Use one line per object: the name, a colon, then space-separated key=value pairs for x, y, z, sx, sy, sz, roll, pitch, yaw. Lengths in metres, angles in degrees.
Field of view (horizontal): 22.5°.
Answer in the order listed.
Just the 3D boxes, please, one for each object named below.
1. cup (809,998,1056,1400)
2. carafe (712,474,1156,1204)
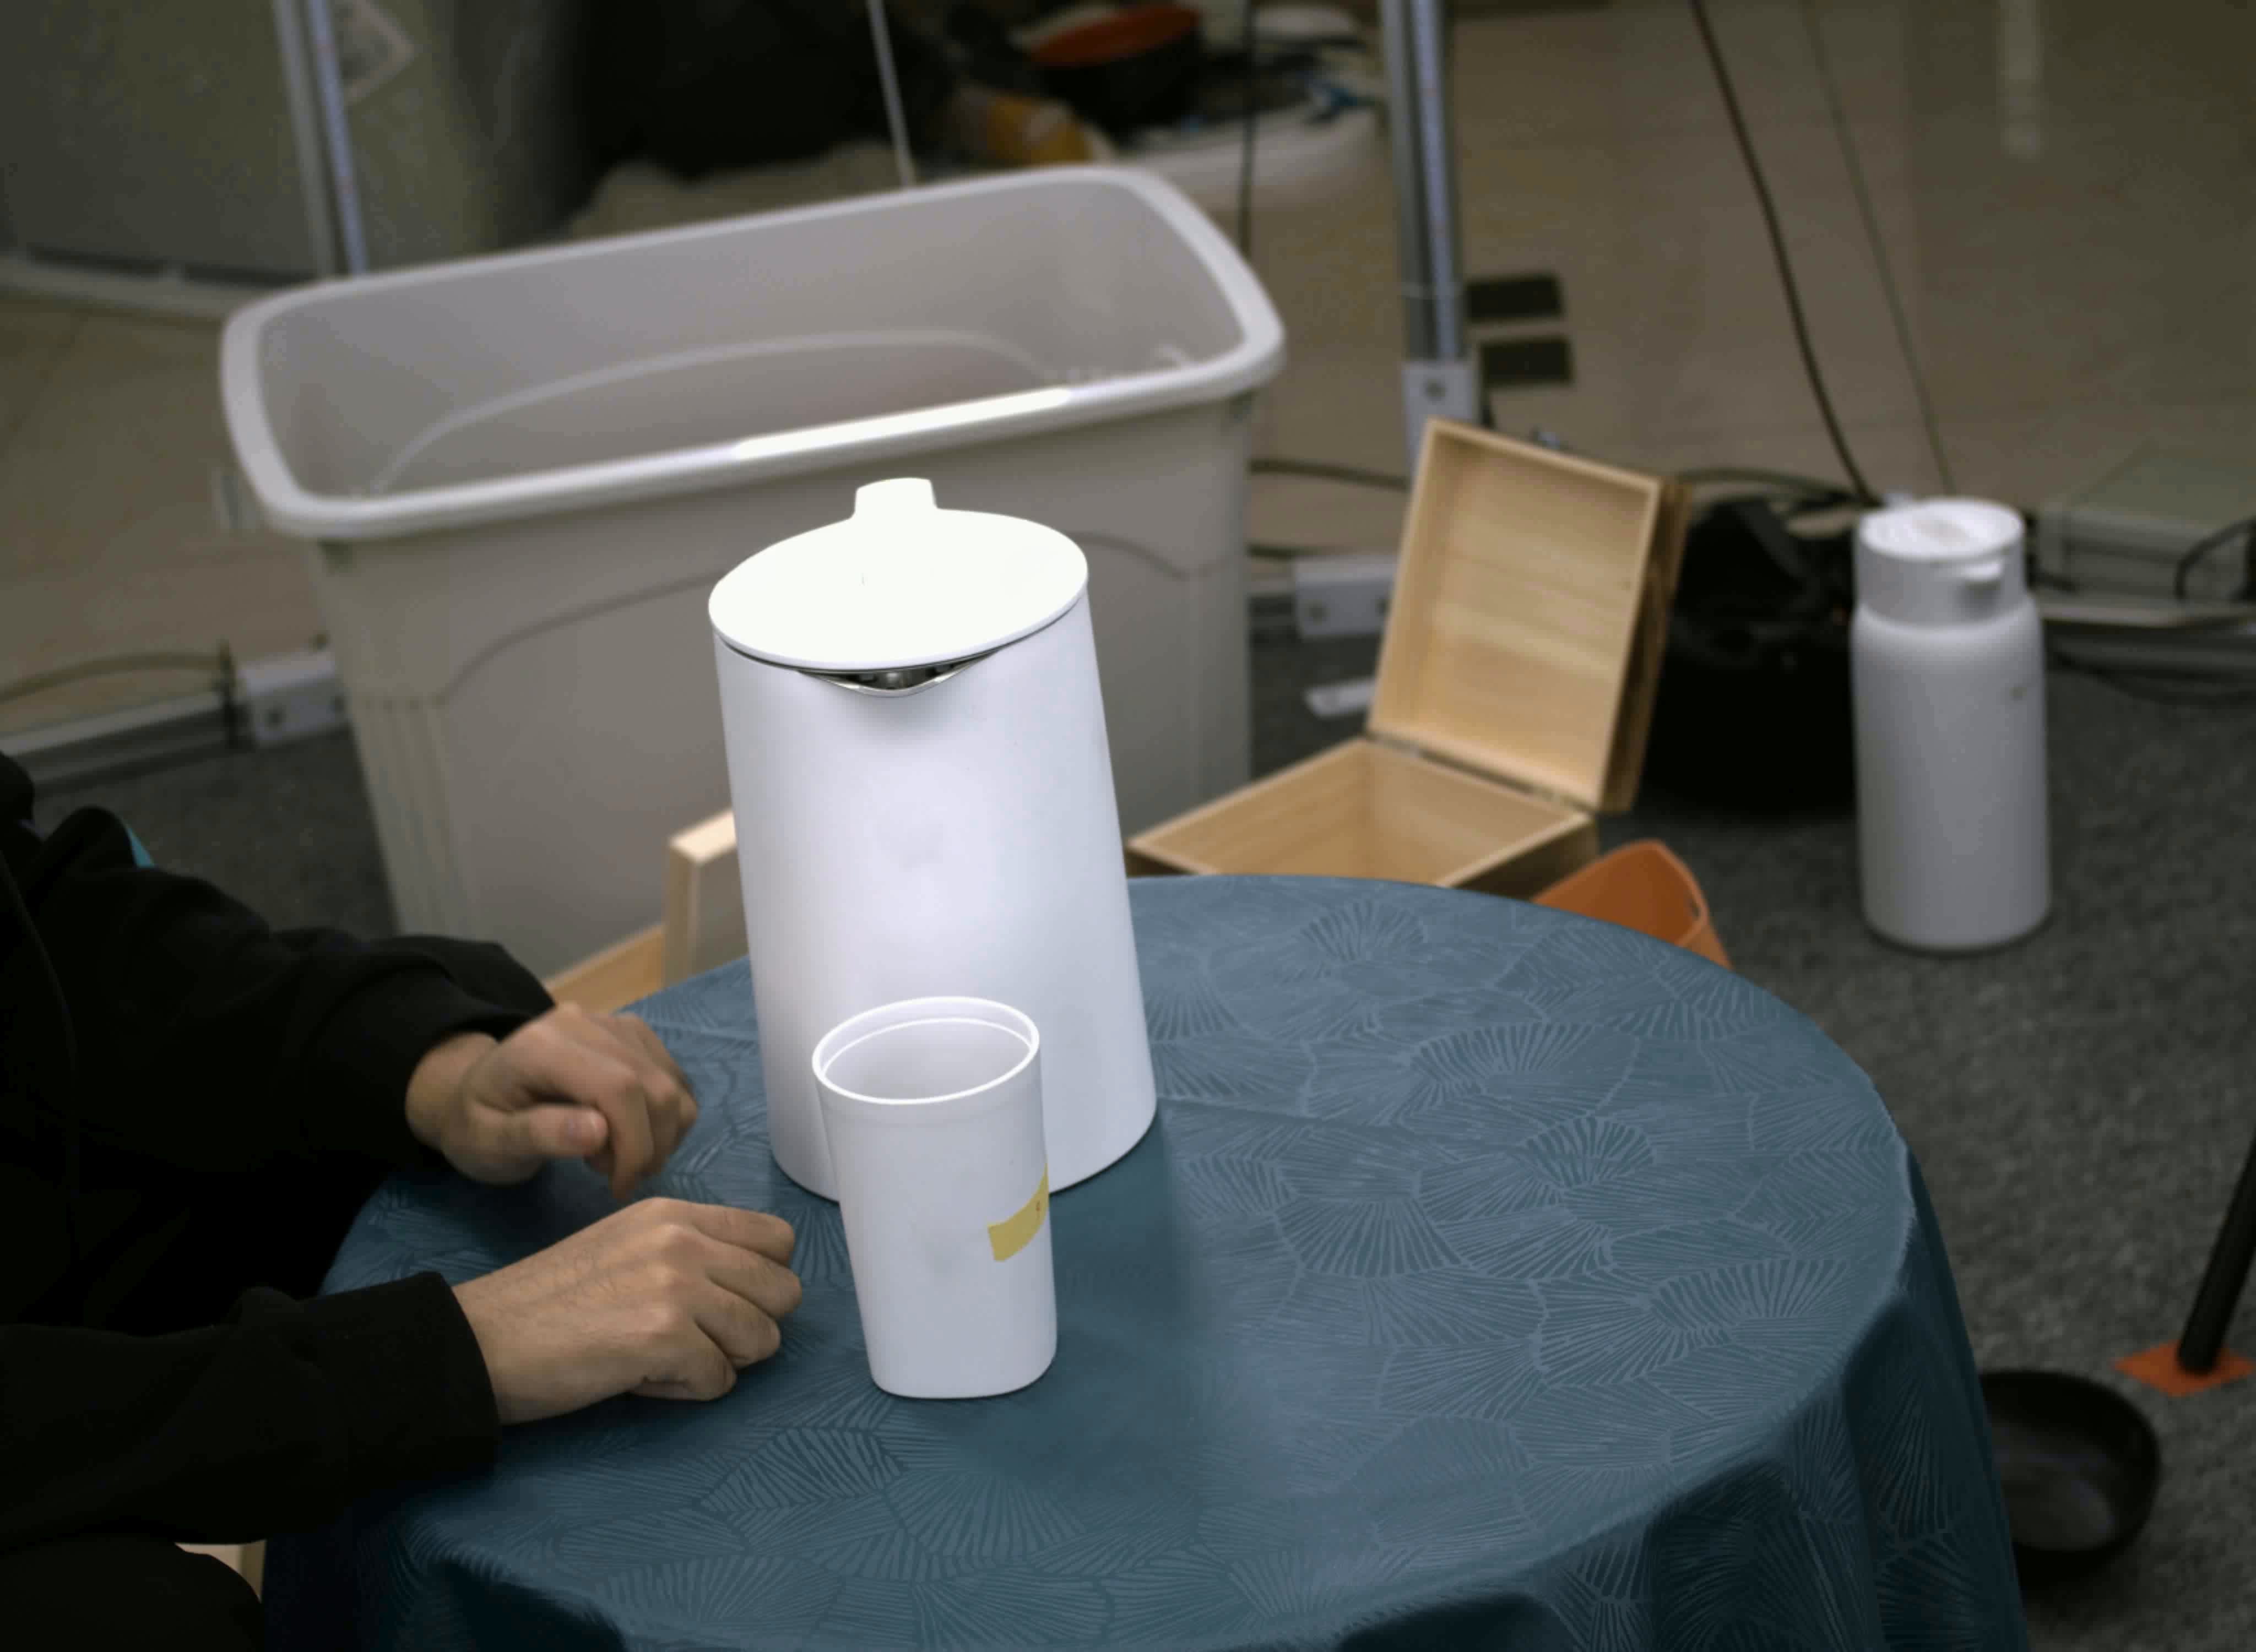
cup: x=-0.065 y=0.135 z=2.020 sx=0.081 sy=0.127 sz=0.080 roll=-6 pitch=26 yaw=3
carafe: x=-0.074 y=0.001 z=2.180 sx=0.152 sy=0.244 sz=0.210 roll=-5 pitch=26 yaw=0
